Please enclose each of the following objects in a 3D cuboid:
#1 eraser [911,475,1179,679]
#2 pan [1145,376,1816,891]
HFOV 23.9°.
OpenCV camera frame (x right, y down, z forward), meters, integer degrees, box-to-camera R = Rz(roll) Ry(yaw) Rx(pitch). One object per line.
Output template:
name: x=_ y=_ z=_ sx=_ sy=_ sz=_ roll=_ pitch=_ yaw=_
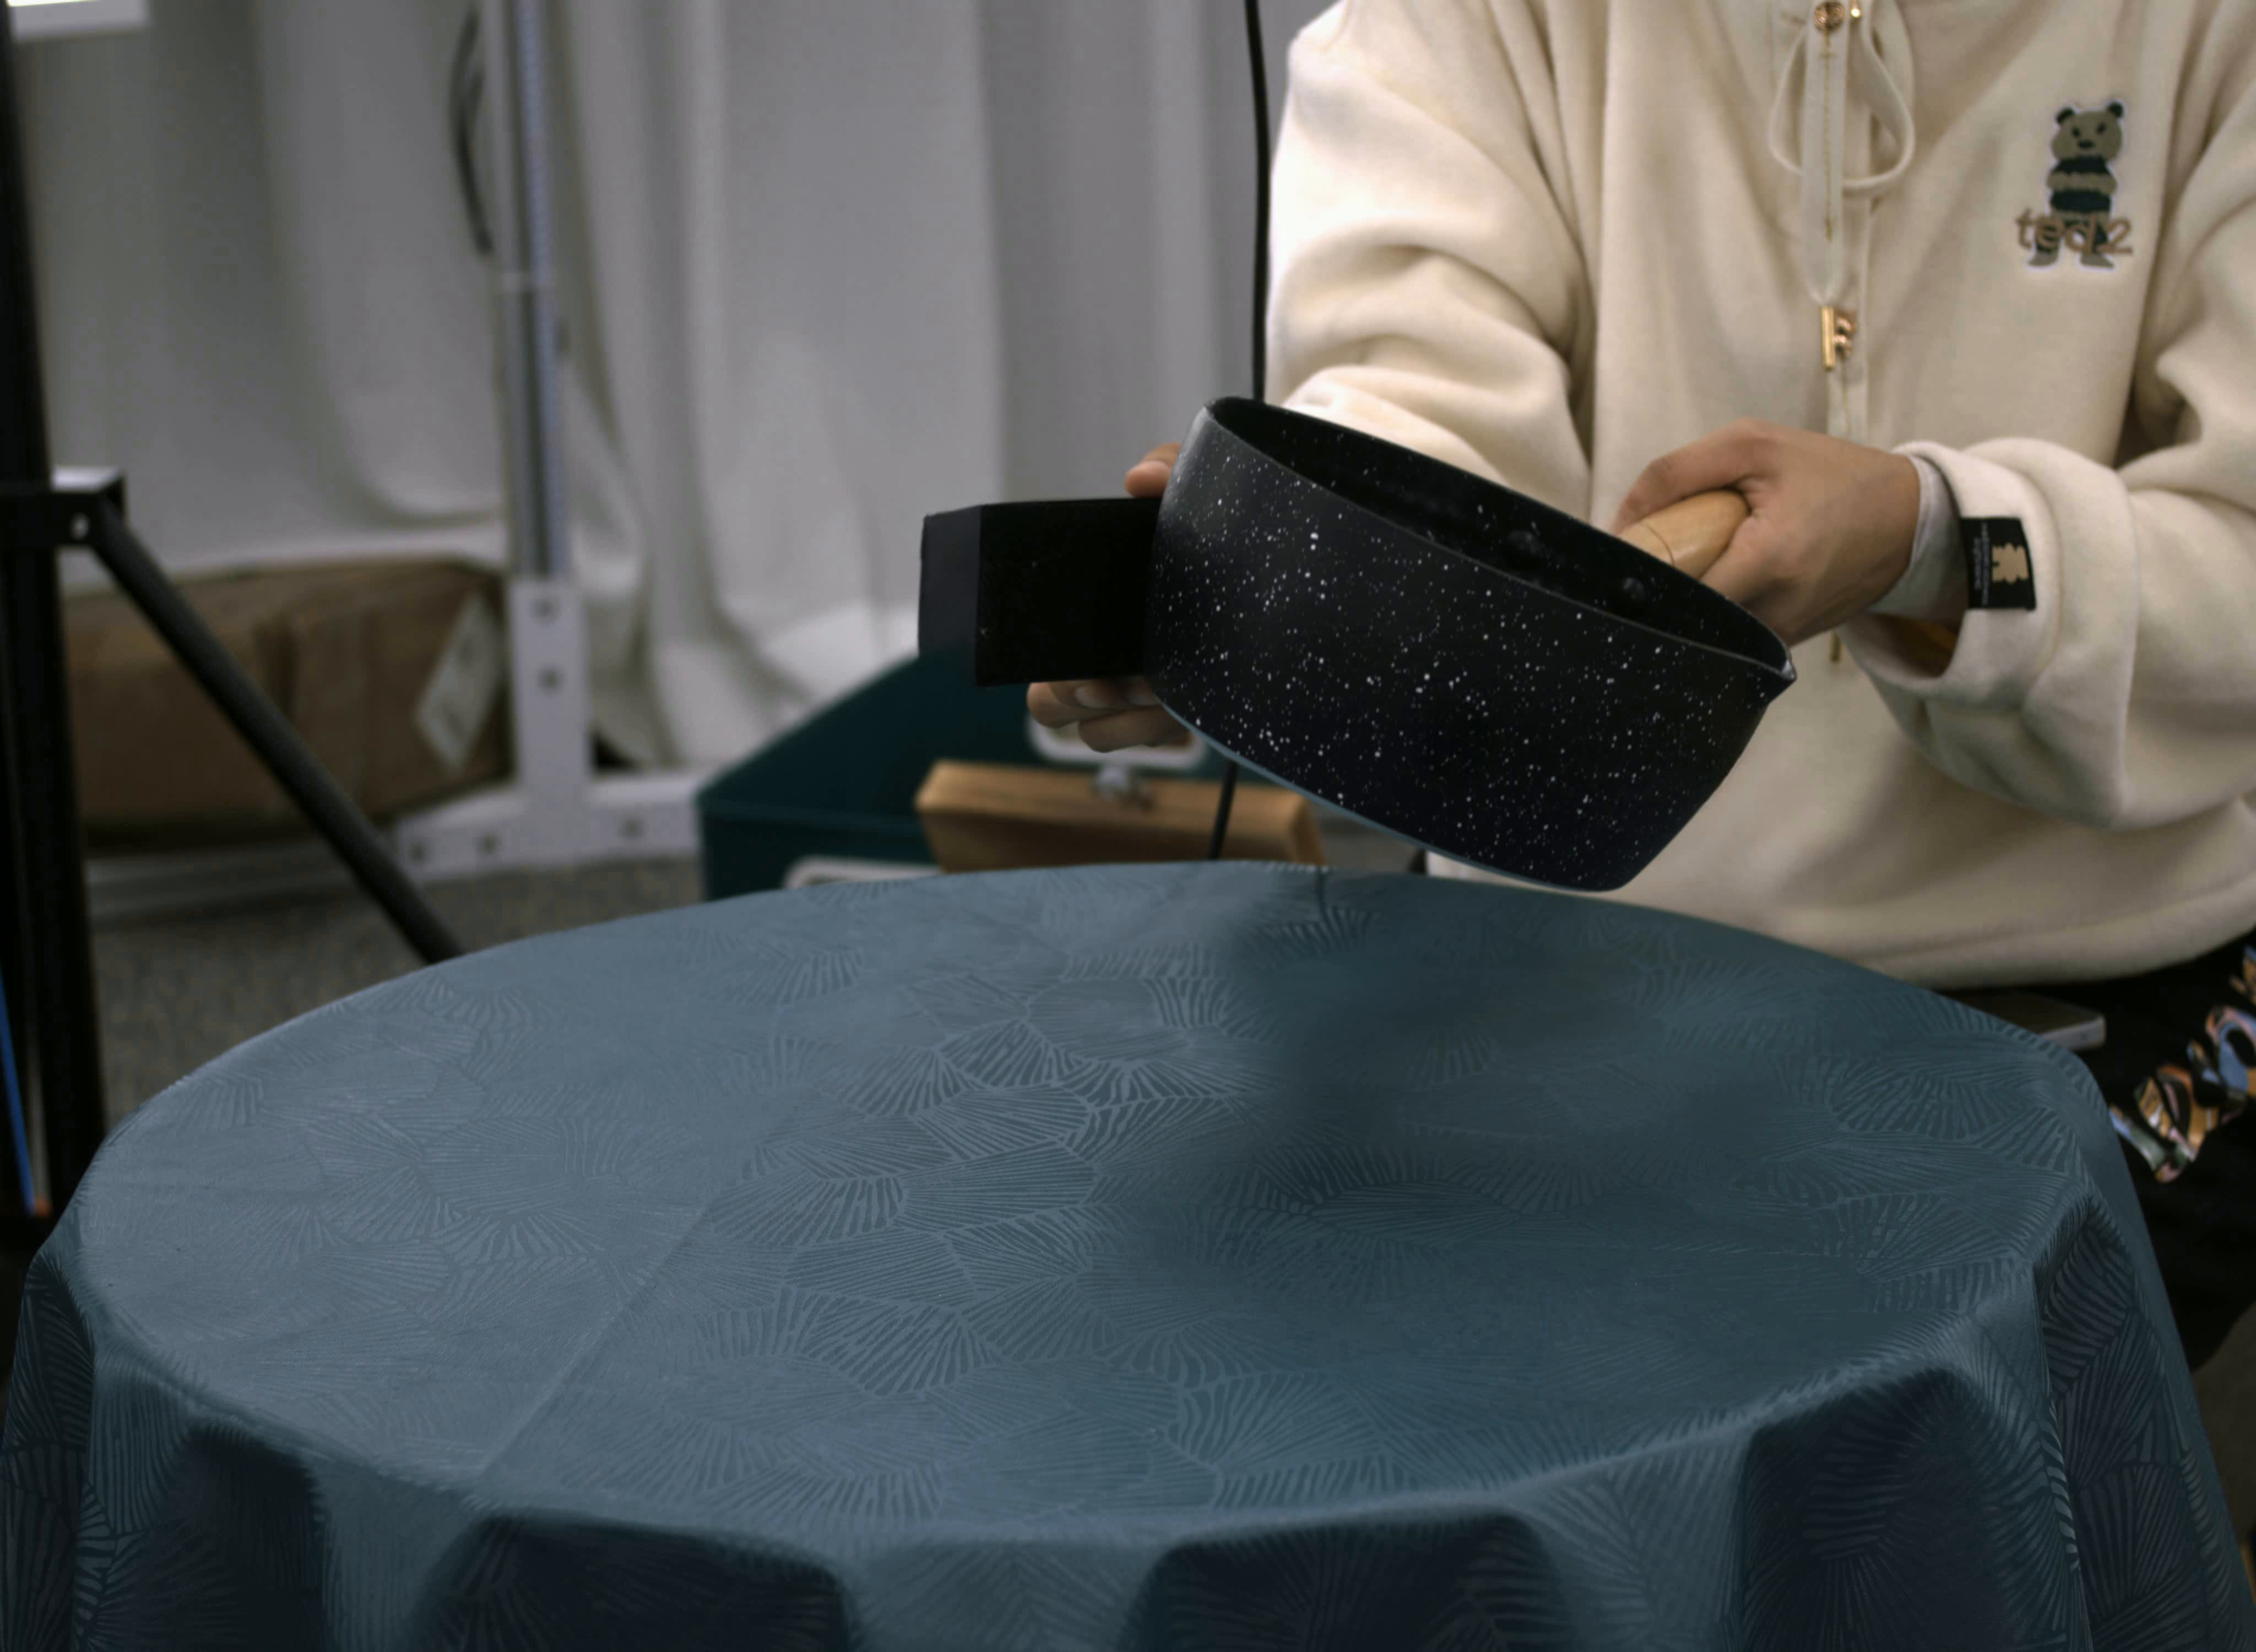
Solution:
eraser: x=-0.014 y=-0.073 z=1.554 sx=0.031 sy=0.053 sz=0.122 roll=8 pitch=10 yaw=36
pan: x=0.125 y=-0.063 z=1.599 sx=0.210 sy=0.108 sz=0.336 roll=27 pitch=13 yaw=21
